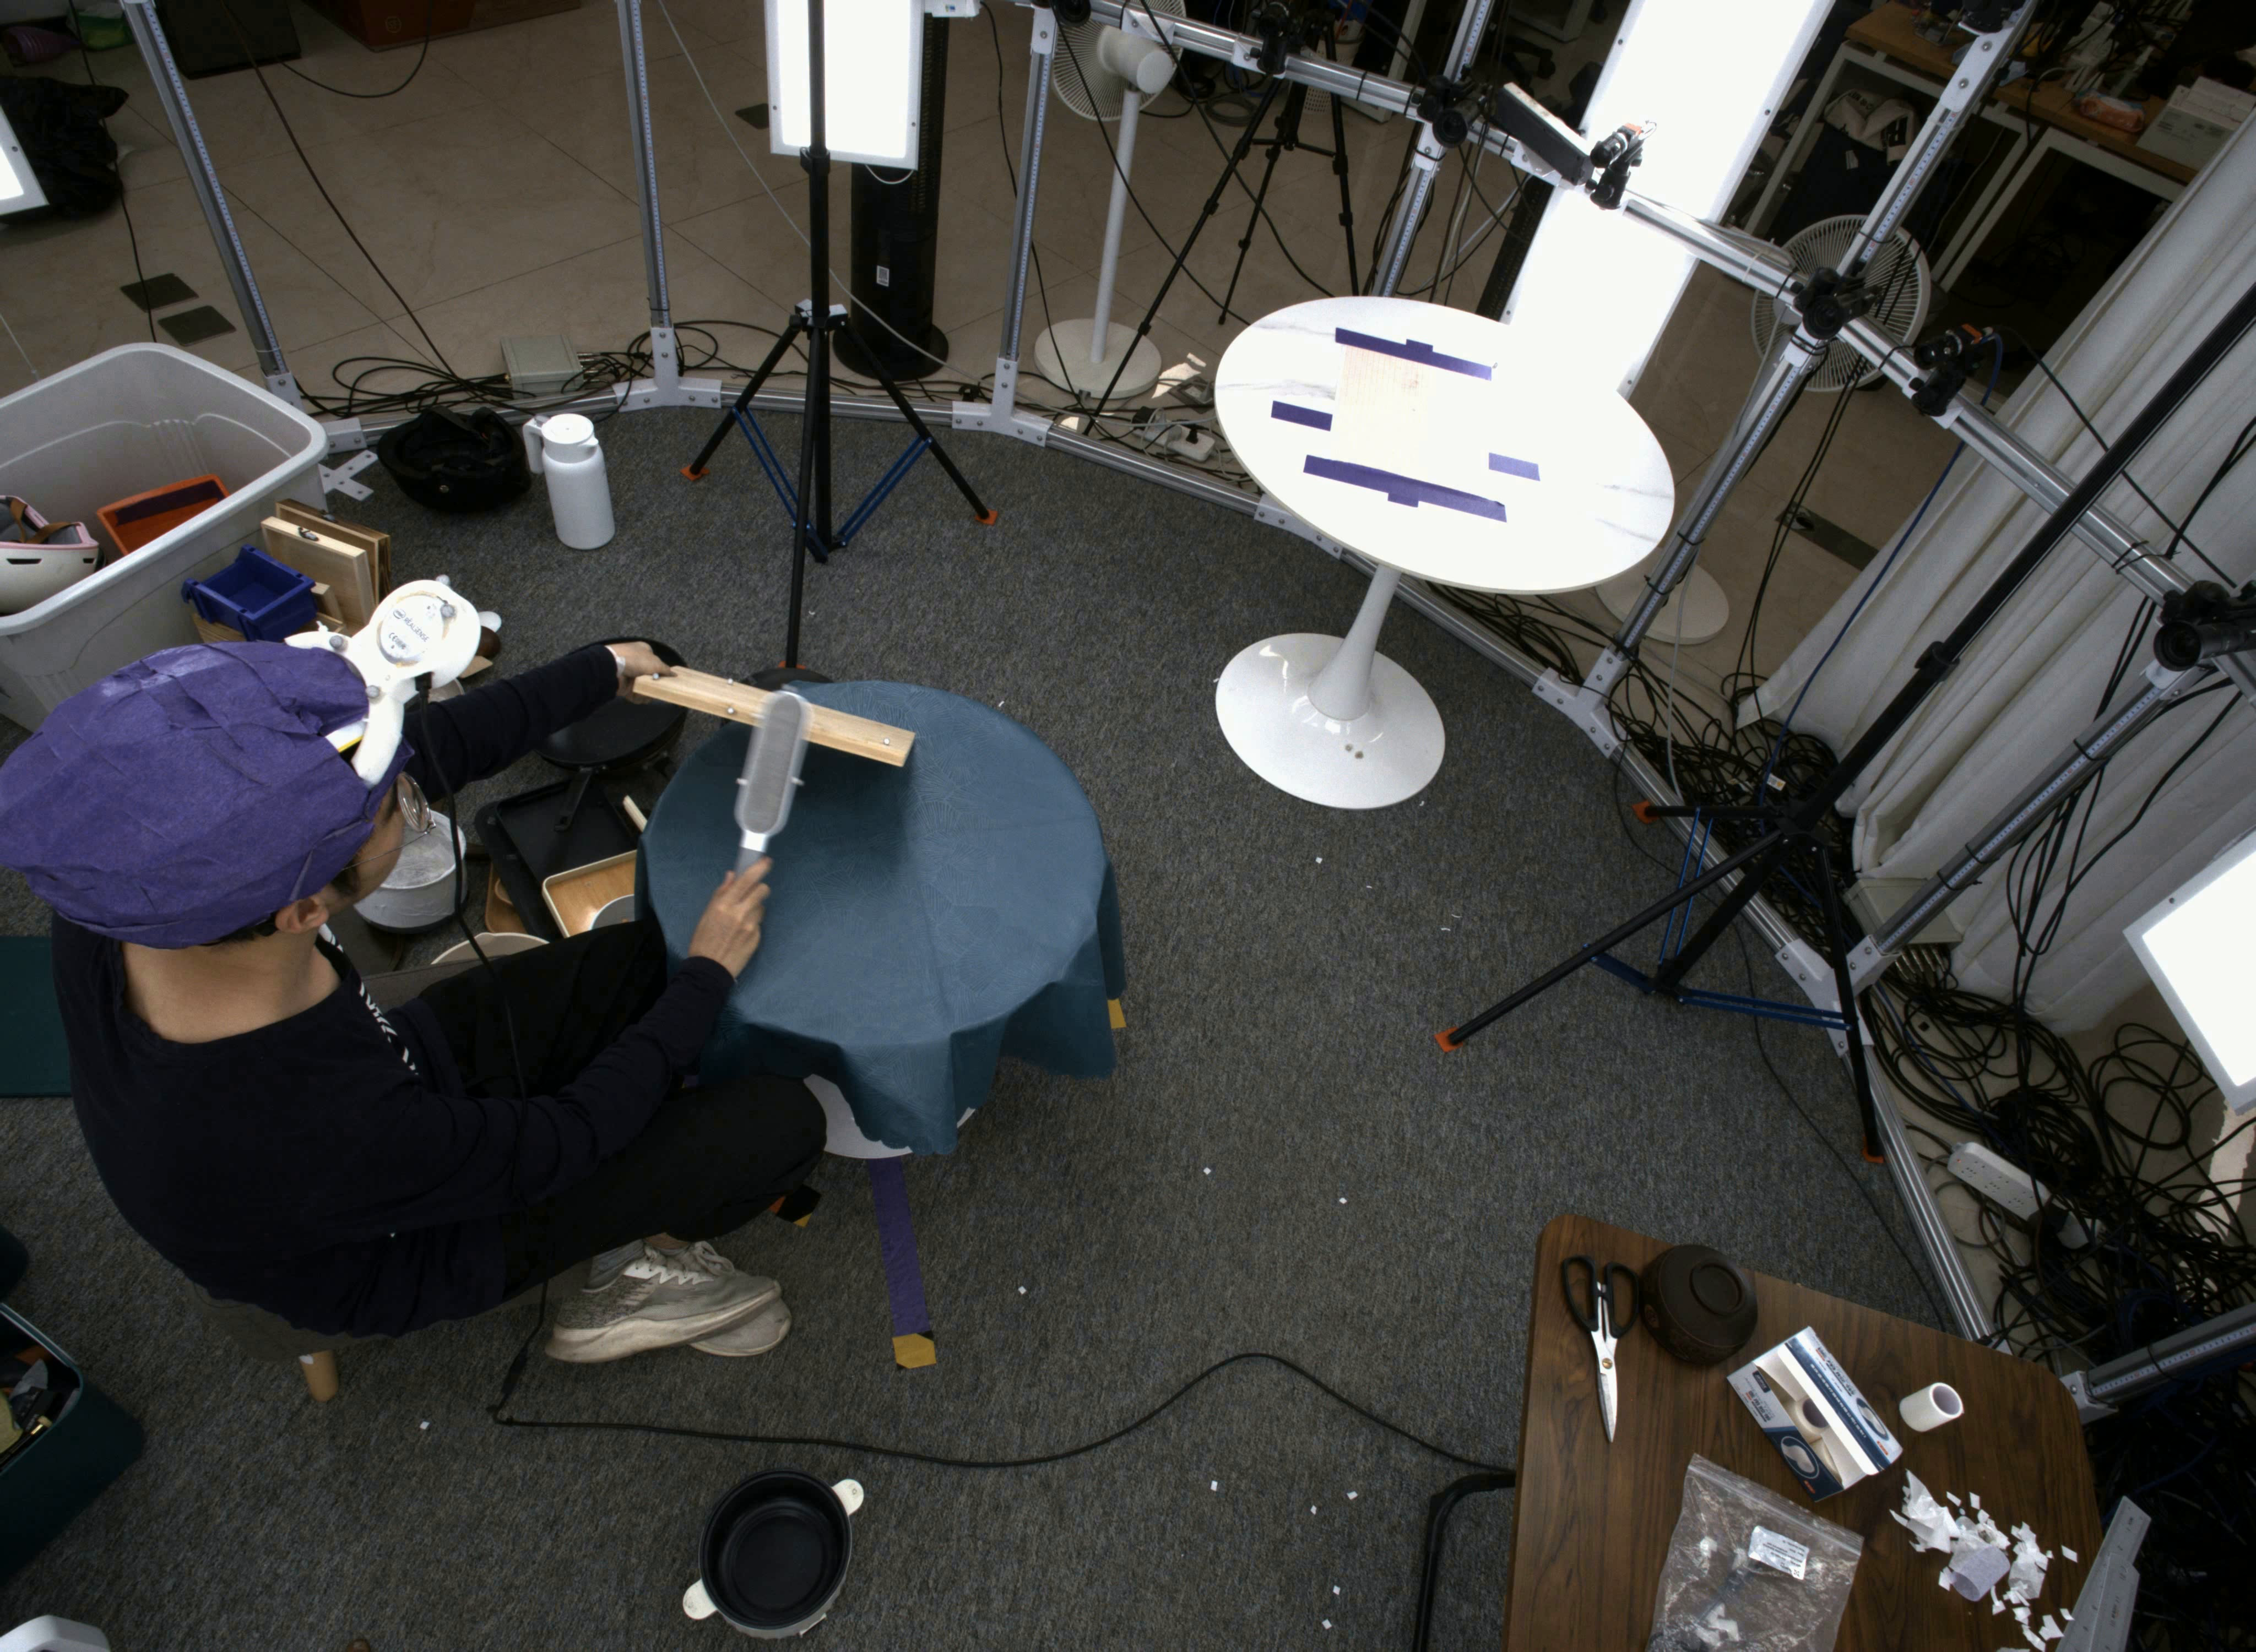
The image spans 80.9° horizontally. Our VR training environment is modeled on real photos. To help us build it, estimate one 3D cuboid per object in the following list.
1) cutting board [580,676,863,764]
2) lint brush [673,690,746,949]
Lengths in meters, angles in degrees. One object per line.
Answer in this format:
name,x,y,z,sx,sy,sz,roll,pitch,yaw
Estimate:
cutting board,-0.523,-0.141,1.677,0.350,0.024,0.246,14,7,-13
lint brush,-0.512,-0.008,1.552,0.060,0.020,0.312,10,90,-18
